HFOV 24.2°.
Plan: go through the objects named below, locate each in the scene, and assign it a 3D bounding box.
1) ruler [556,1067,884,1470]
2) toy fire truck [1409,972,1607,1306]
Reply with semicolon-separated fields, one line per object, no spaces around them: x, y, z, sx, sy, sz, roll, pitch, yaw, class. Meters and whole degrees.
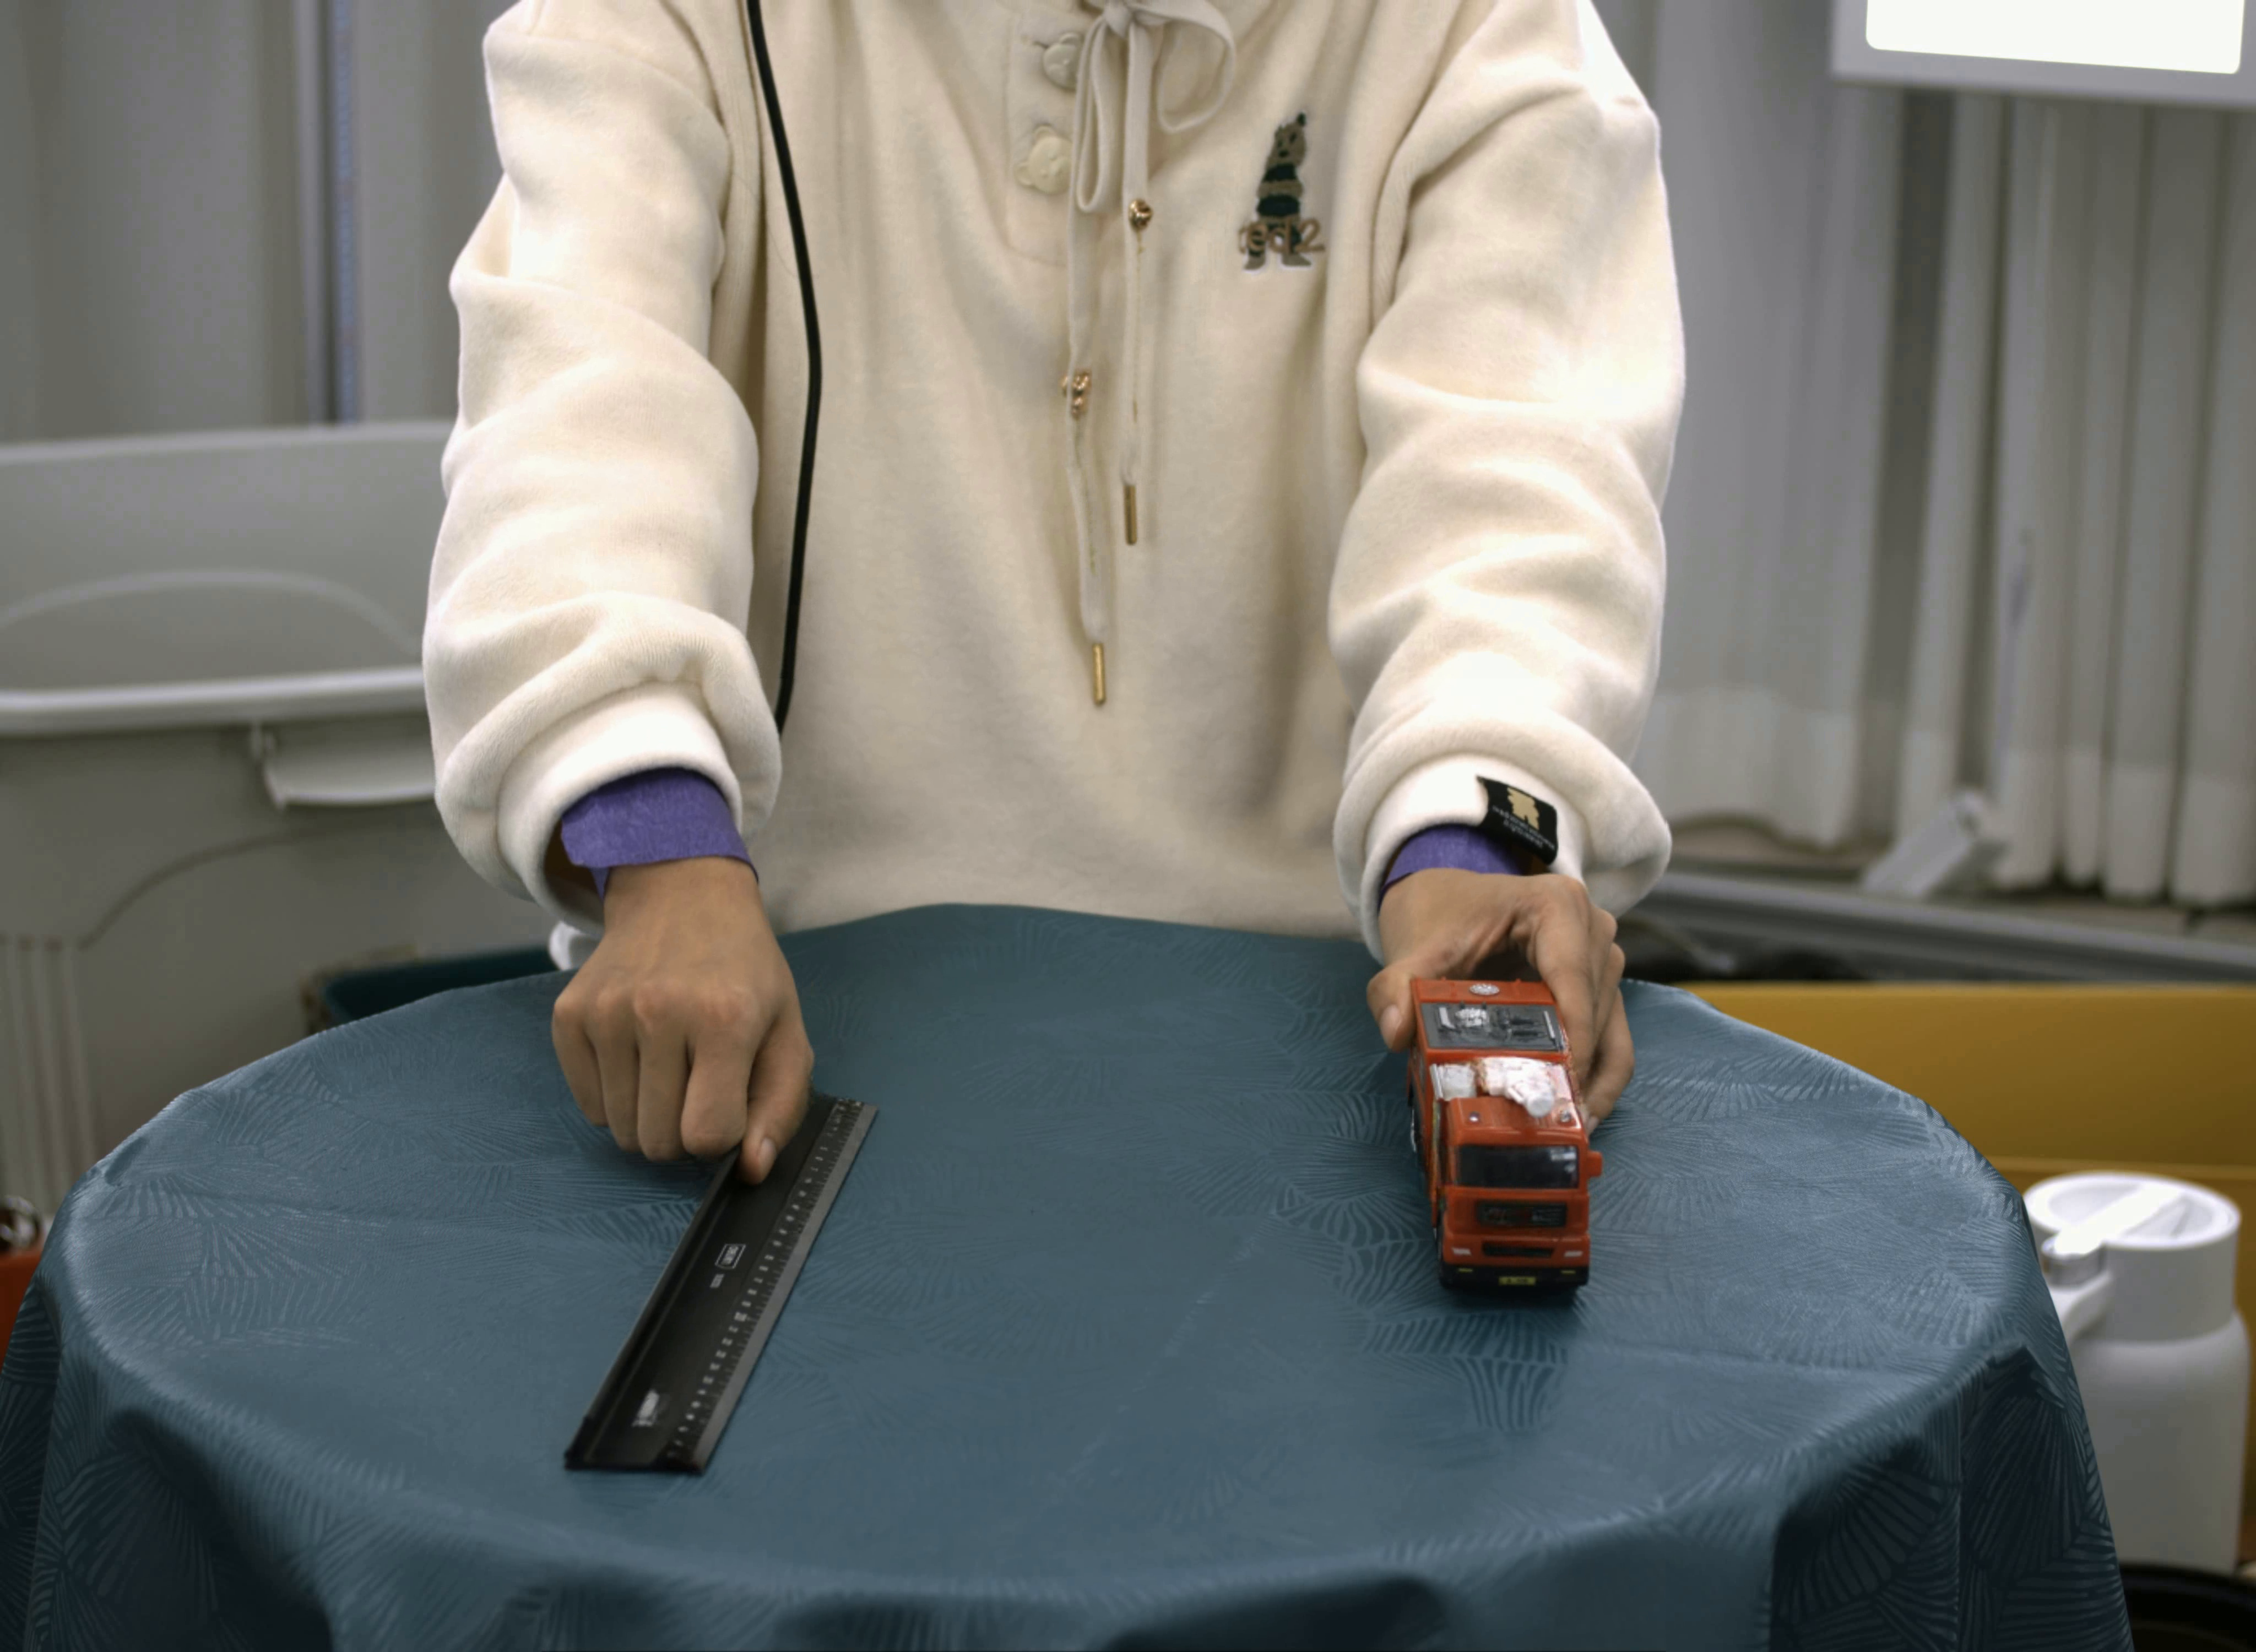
-0.115;0.124;1.544;0.039;0.017;0.311;5;15;6;ruler
0.114;0.091;1.590;0.054;0.071;0.167;1;15;-1;toy fire truck
